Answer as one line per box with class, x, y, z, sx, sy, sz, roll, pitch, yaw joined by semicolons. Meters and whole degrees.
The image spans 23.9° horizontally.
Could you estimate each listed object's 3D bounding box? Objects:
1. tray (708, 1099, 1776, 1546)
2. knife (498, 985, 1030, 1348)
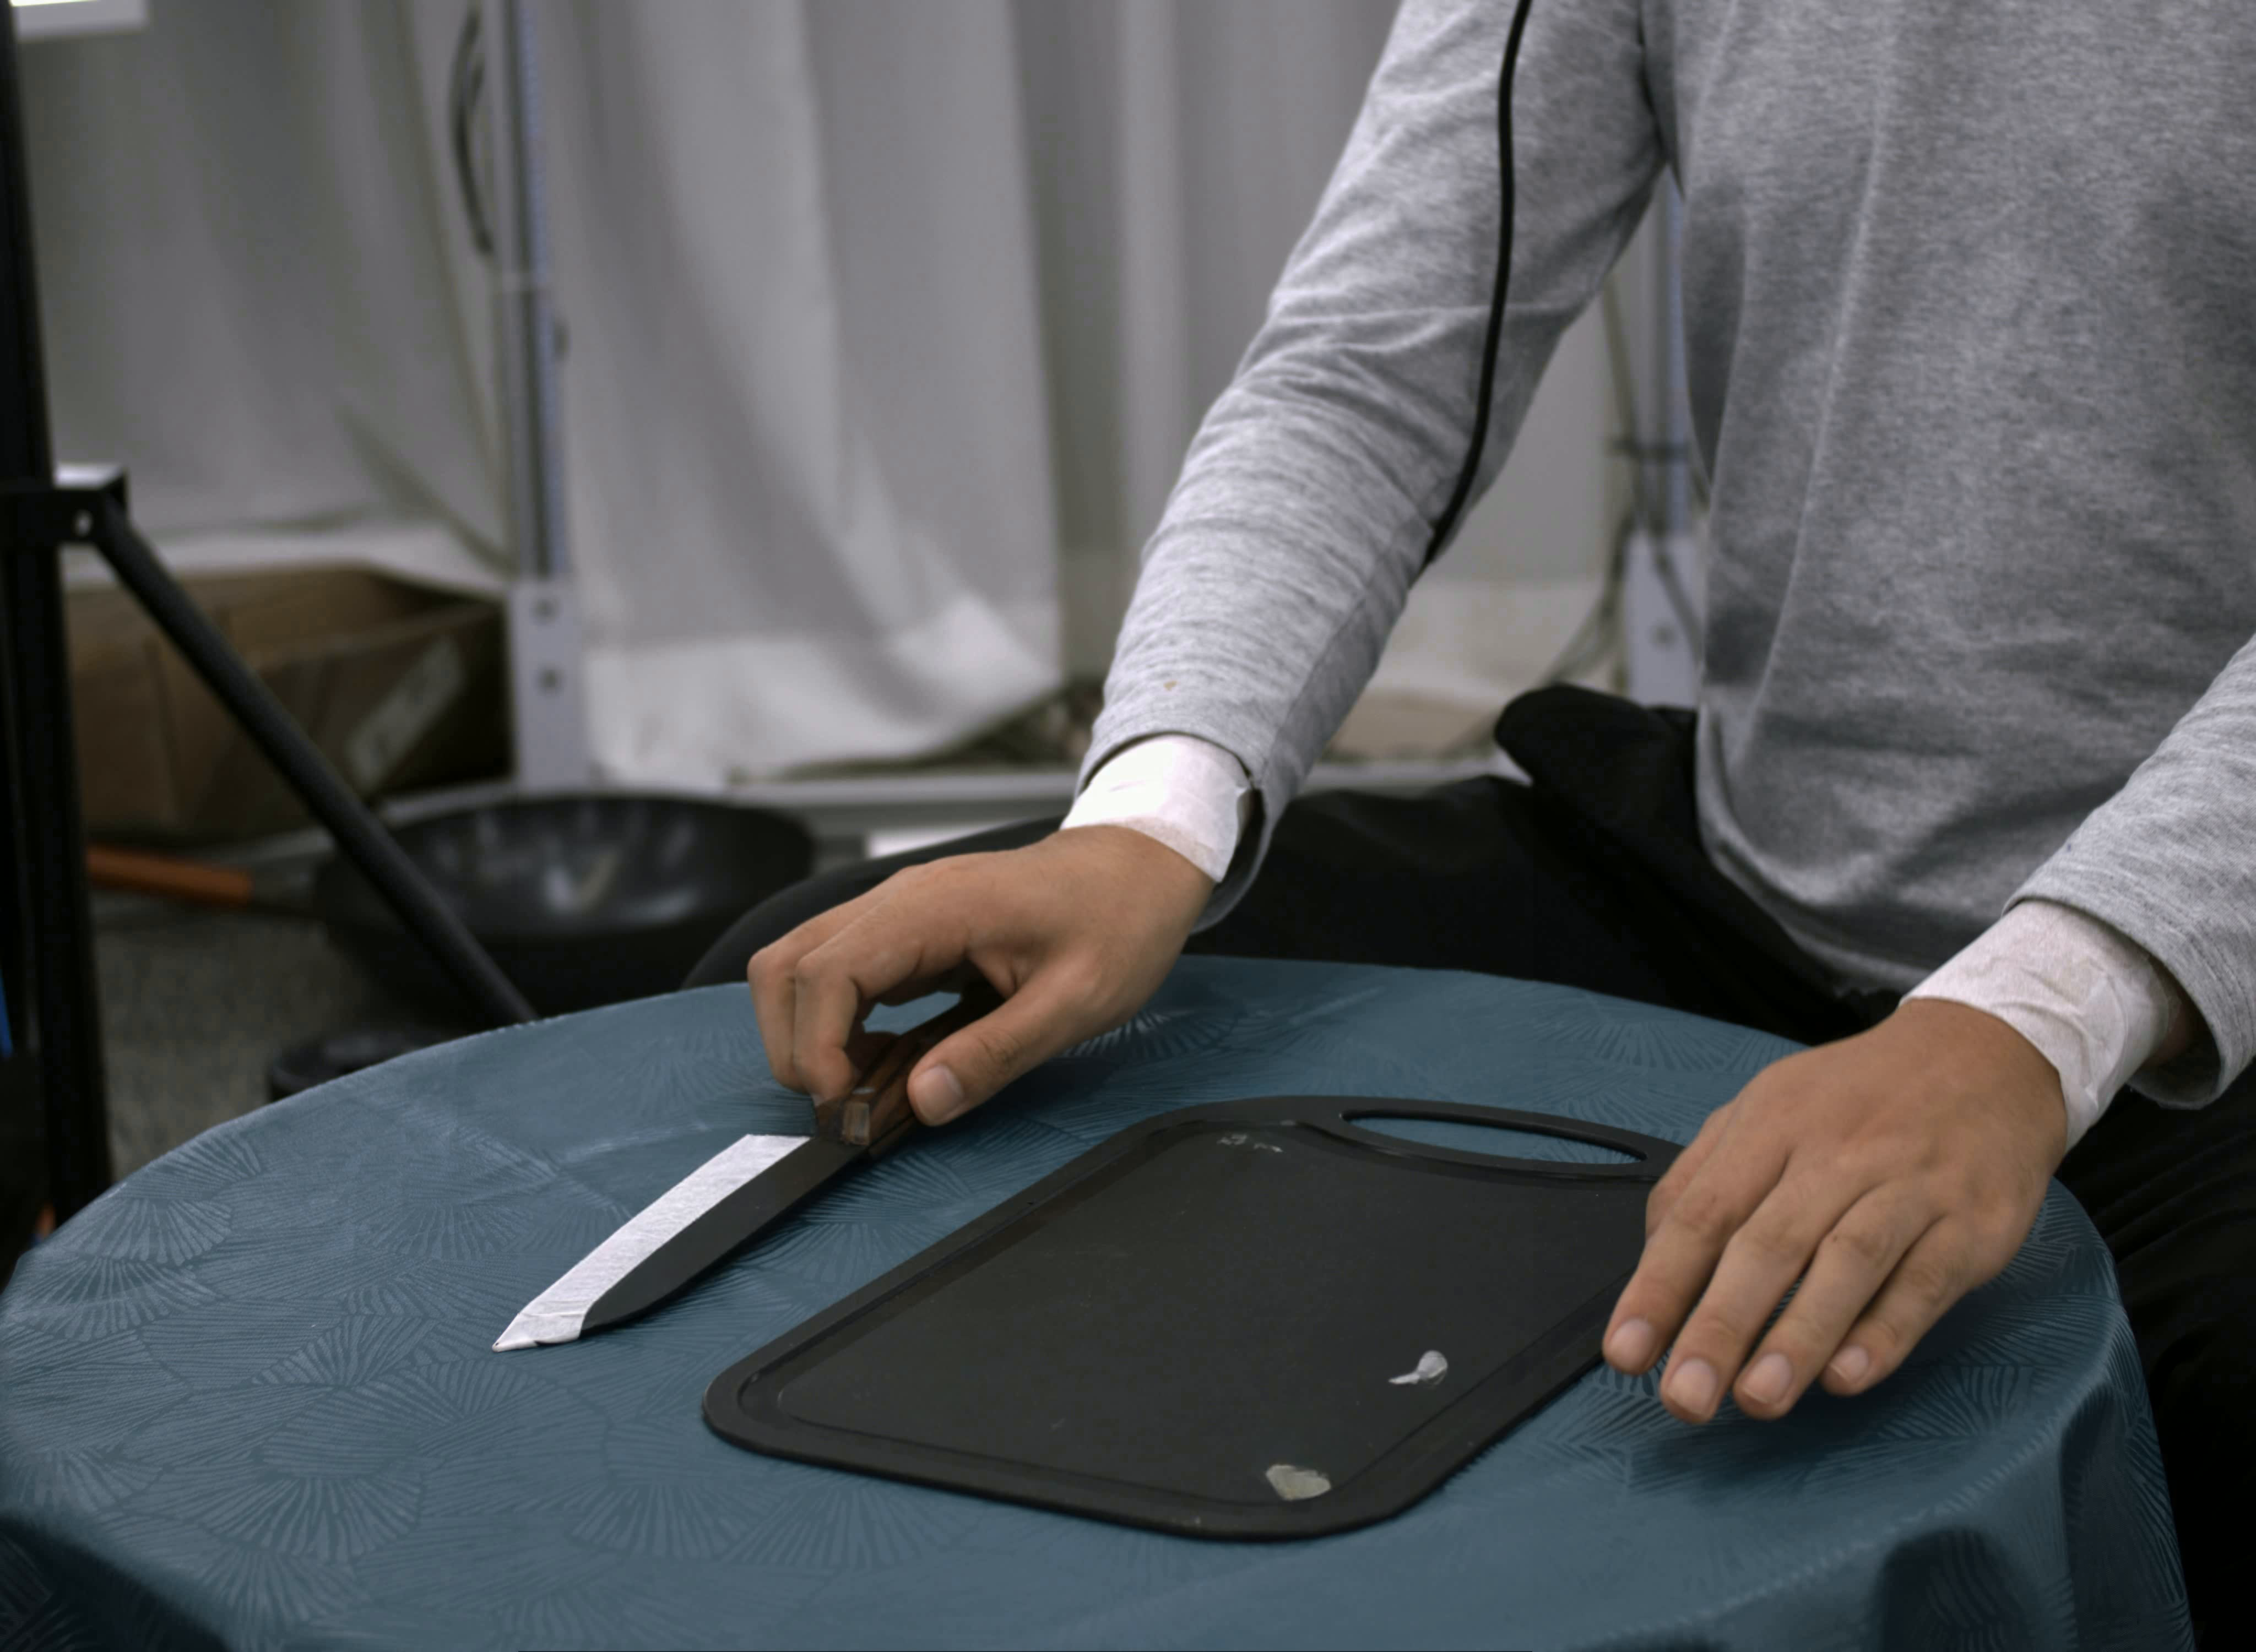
tray;0.041;0.128;1.475;0.215;0.010;0.319;7;18;31
knife;-0.103;0.101;1.577;0.051;0.020;0.284;0;18;29
